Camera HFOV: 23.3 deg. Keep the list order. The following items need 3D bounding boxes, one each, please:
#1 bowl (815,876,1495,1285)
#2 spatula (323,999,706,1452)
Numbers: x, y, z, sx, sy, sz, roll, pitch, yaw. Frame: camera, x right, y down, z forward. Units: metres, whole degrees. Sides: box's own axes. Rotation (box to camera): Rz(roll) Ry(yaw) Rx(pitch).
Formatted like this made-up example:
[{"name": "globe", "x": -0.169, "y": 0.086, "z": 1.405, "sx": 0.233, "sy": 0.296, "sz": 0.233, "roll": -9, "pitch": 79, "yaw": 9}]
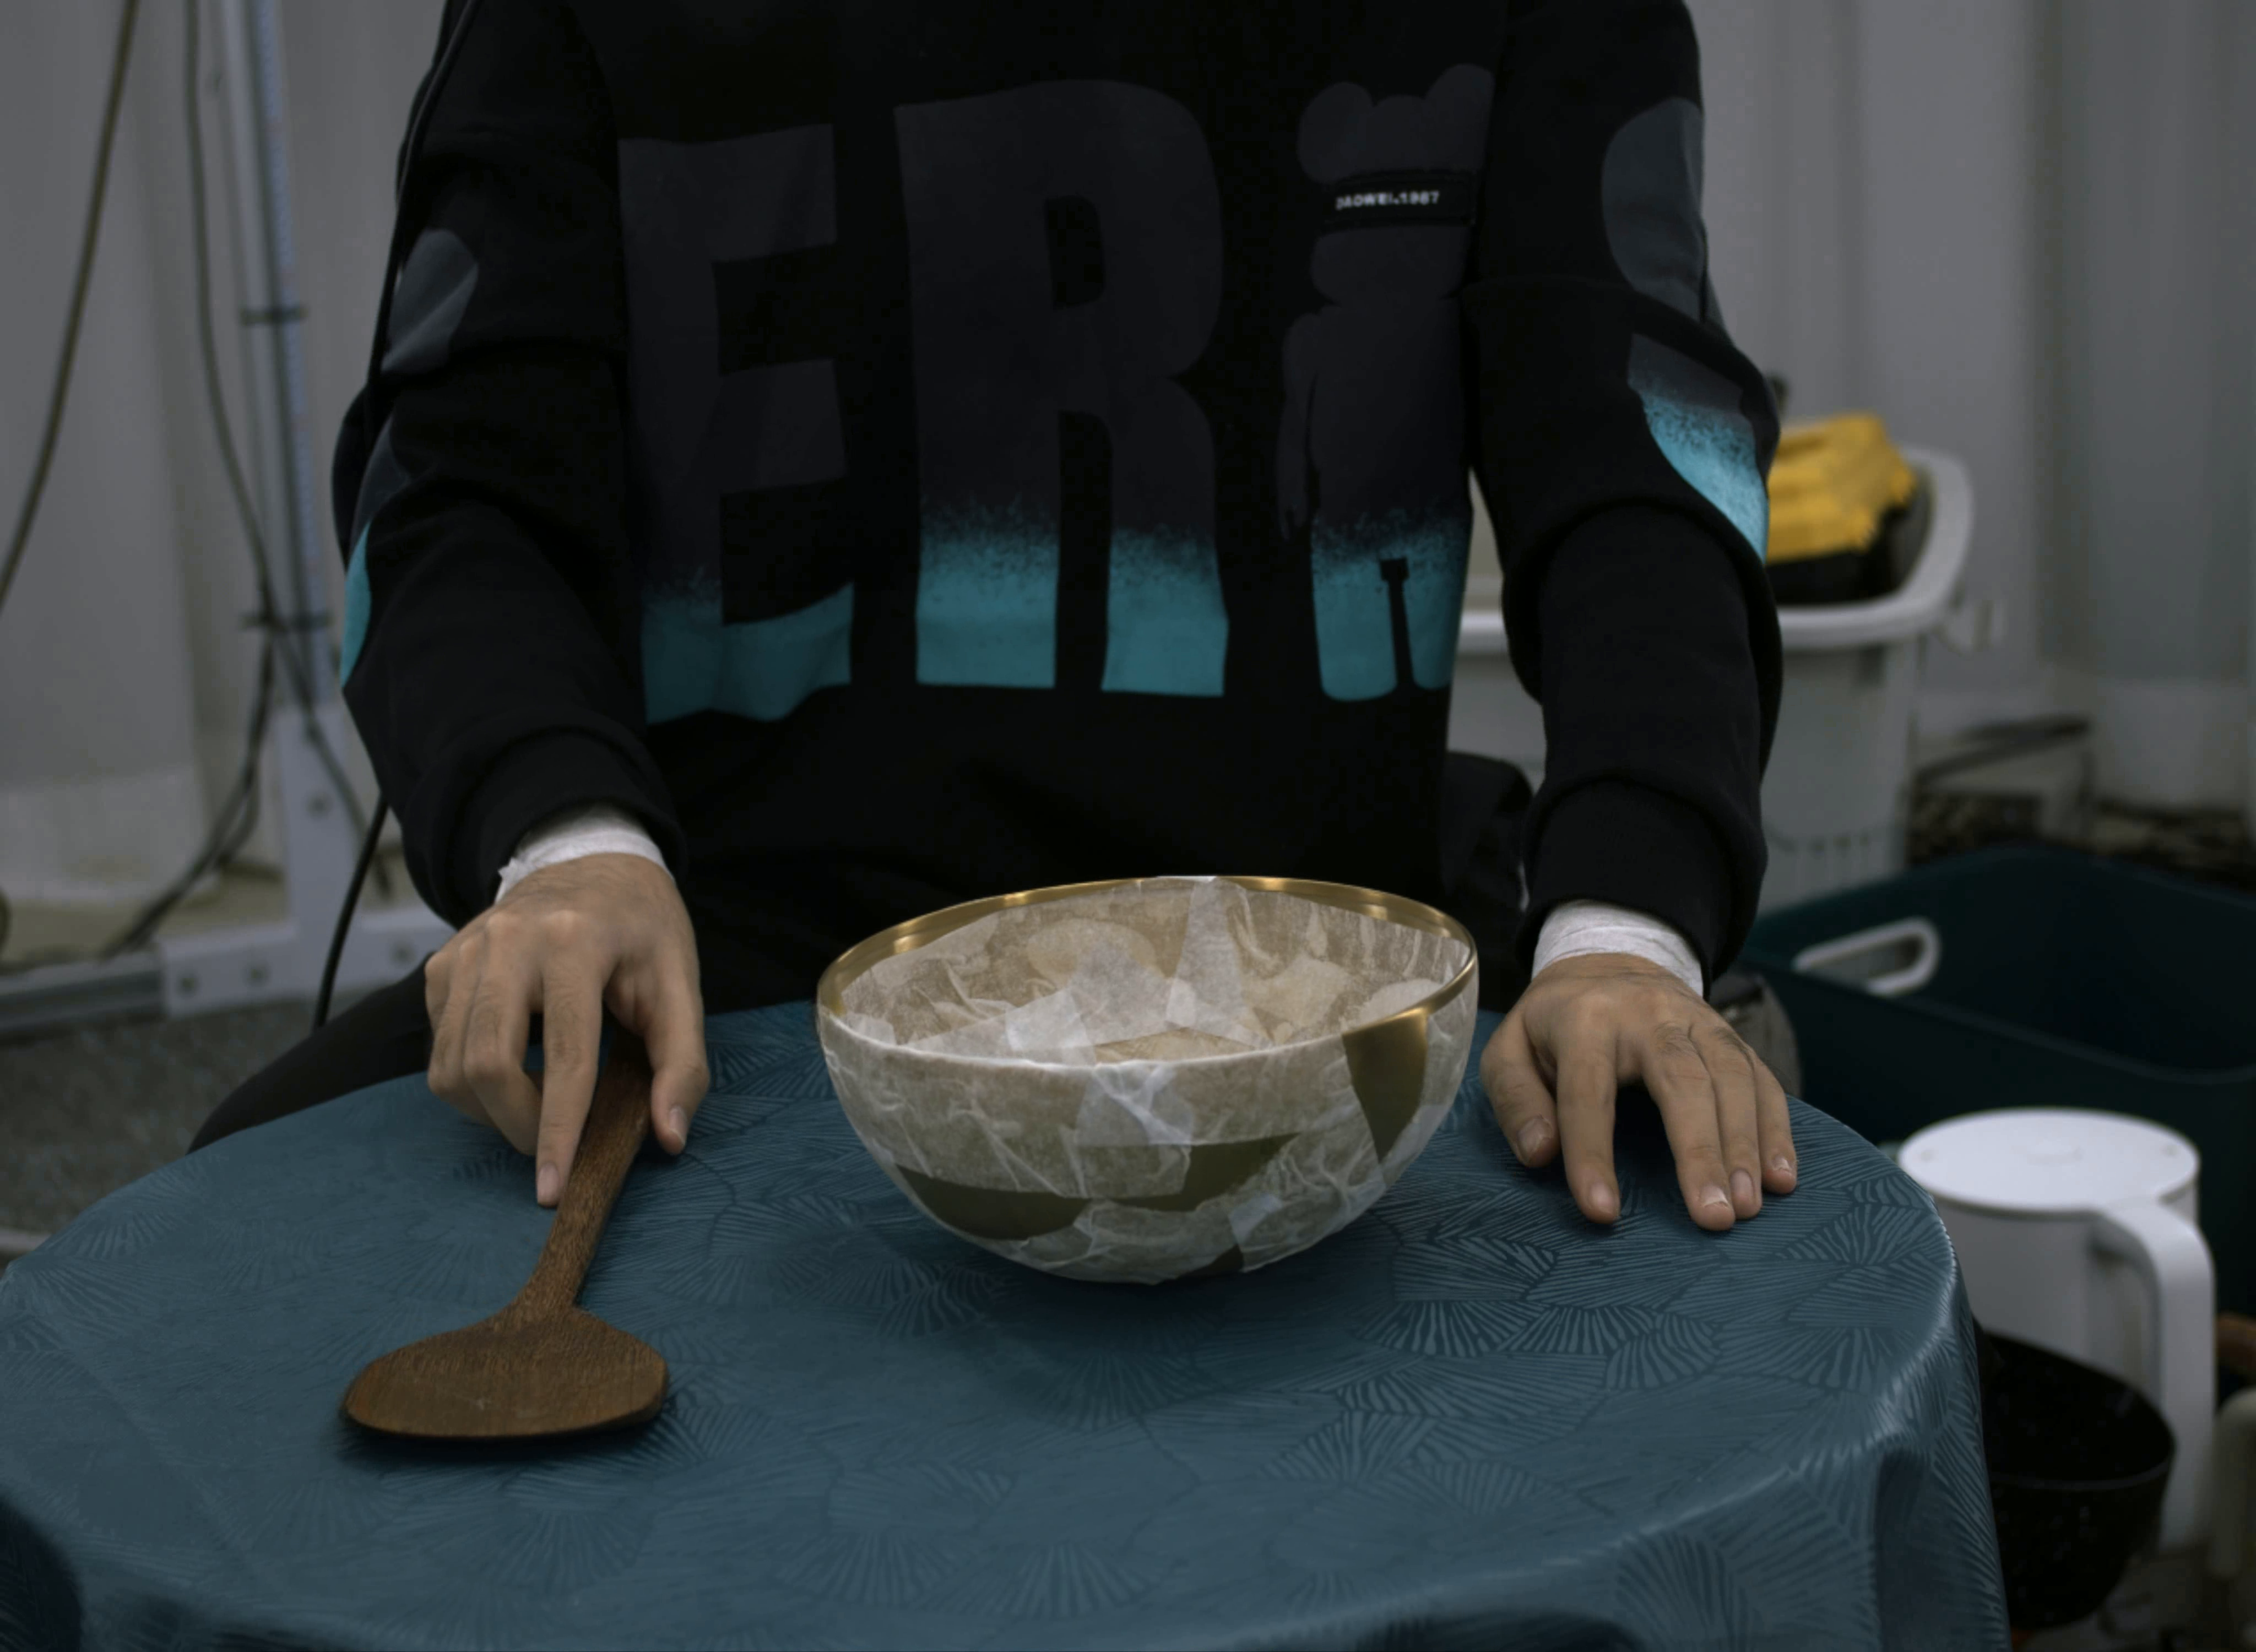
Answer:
[{"name": "bowl", "x": 0.011, "y": 0.084, "z": 1.651, "sx": 0.214, "sy": 0.094, "sz": 0.216, "roll": -4, "pitch": 12, "yaw": 1}, {"name": "spatula", "x": -0.168, "y": 0.117, "z": 1.695, "sx": 0.096, "sy": 0.016, "sz": 0.389, "roll": -2, "pitch": 17, "yaw": 4}]
